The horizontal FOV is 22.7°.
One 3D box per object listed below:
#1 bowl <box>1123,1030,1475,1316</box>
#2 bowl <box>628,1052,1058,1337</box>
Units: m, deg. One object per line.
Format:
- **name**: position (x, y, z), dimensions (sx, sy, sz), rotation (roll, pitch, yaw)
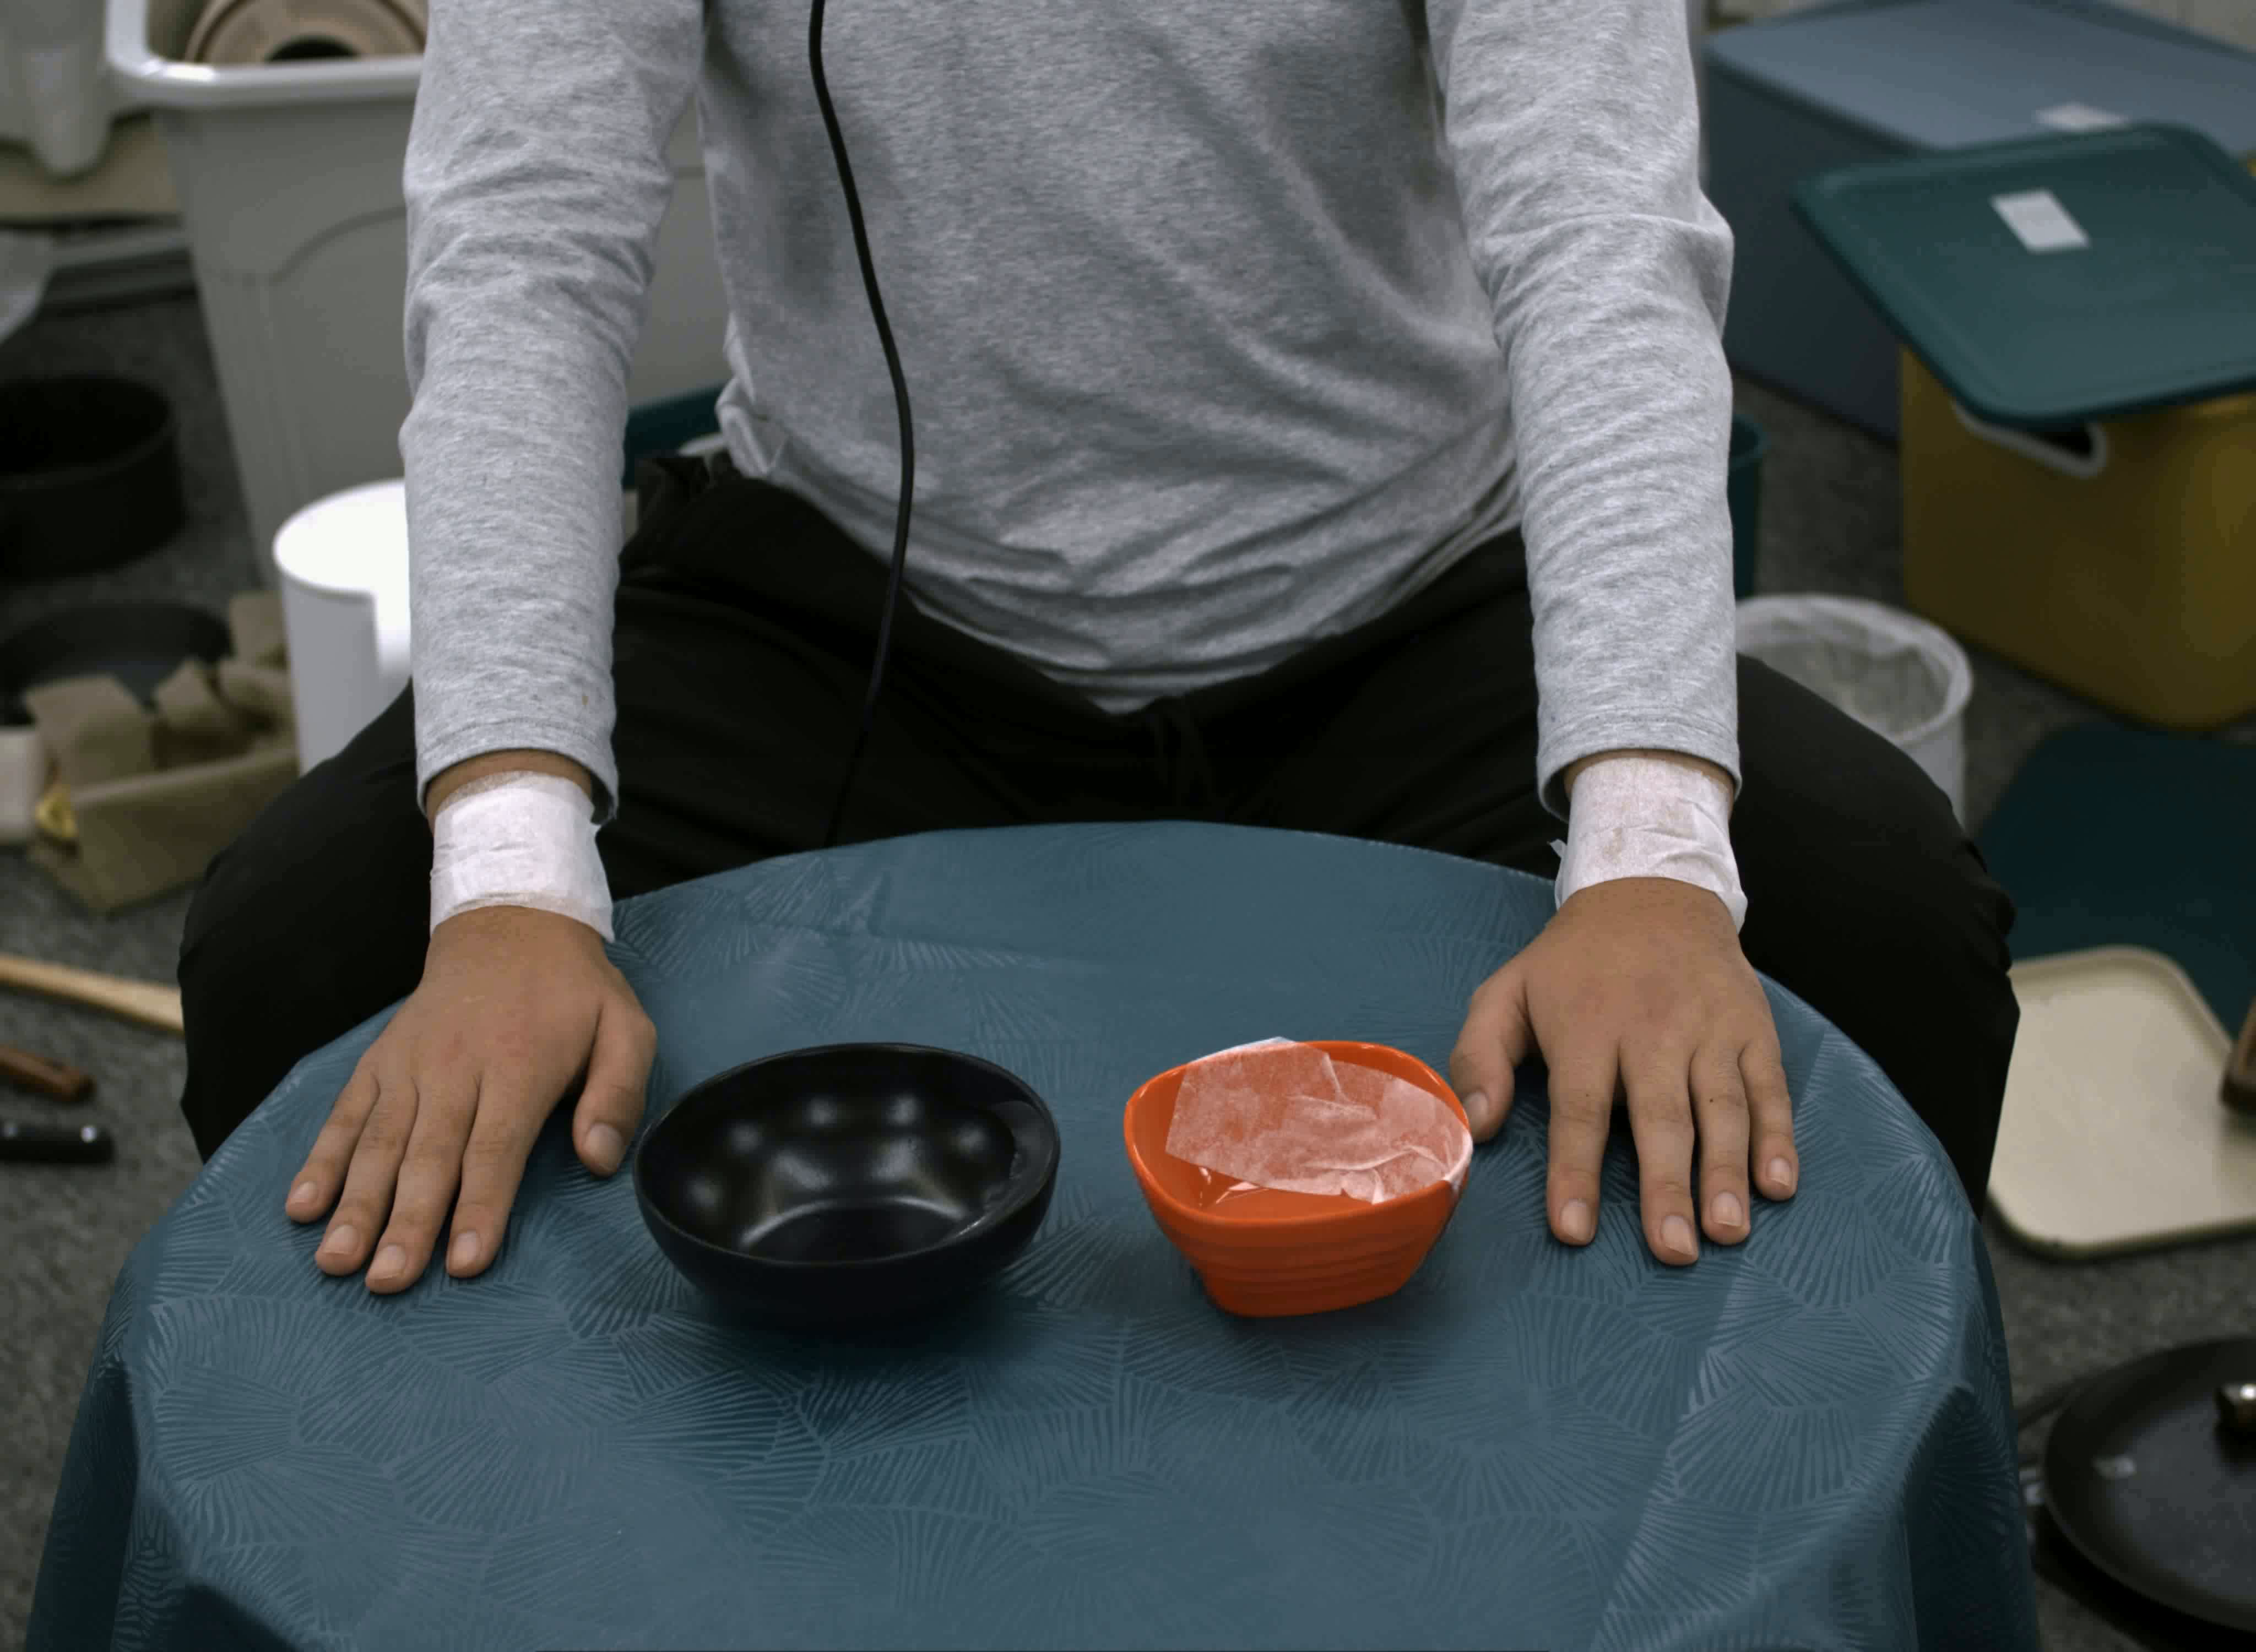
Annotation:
- **bowl**: position (0.055, 0.116, 1.809), dimensions (0.118, 0.051, 0.121), rotation (-3, 29, 2)
- **bowl**: position (-0.090, 0.126, 1.811), dimensions (0.139, 0.049, 0.142), rotation (-2, 24, 1)
